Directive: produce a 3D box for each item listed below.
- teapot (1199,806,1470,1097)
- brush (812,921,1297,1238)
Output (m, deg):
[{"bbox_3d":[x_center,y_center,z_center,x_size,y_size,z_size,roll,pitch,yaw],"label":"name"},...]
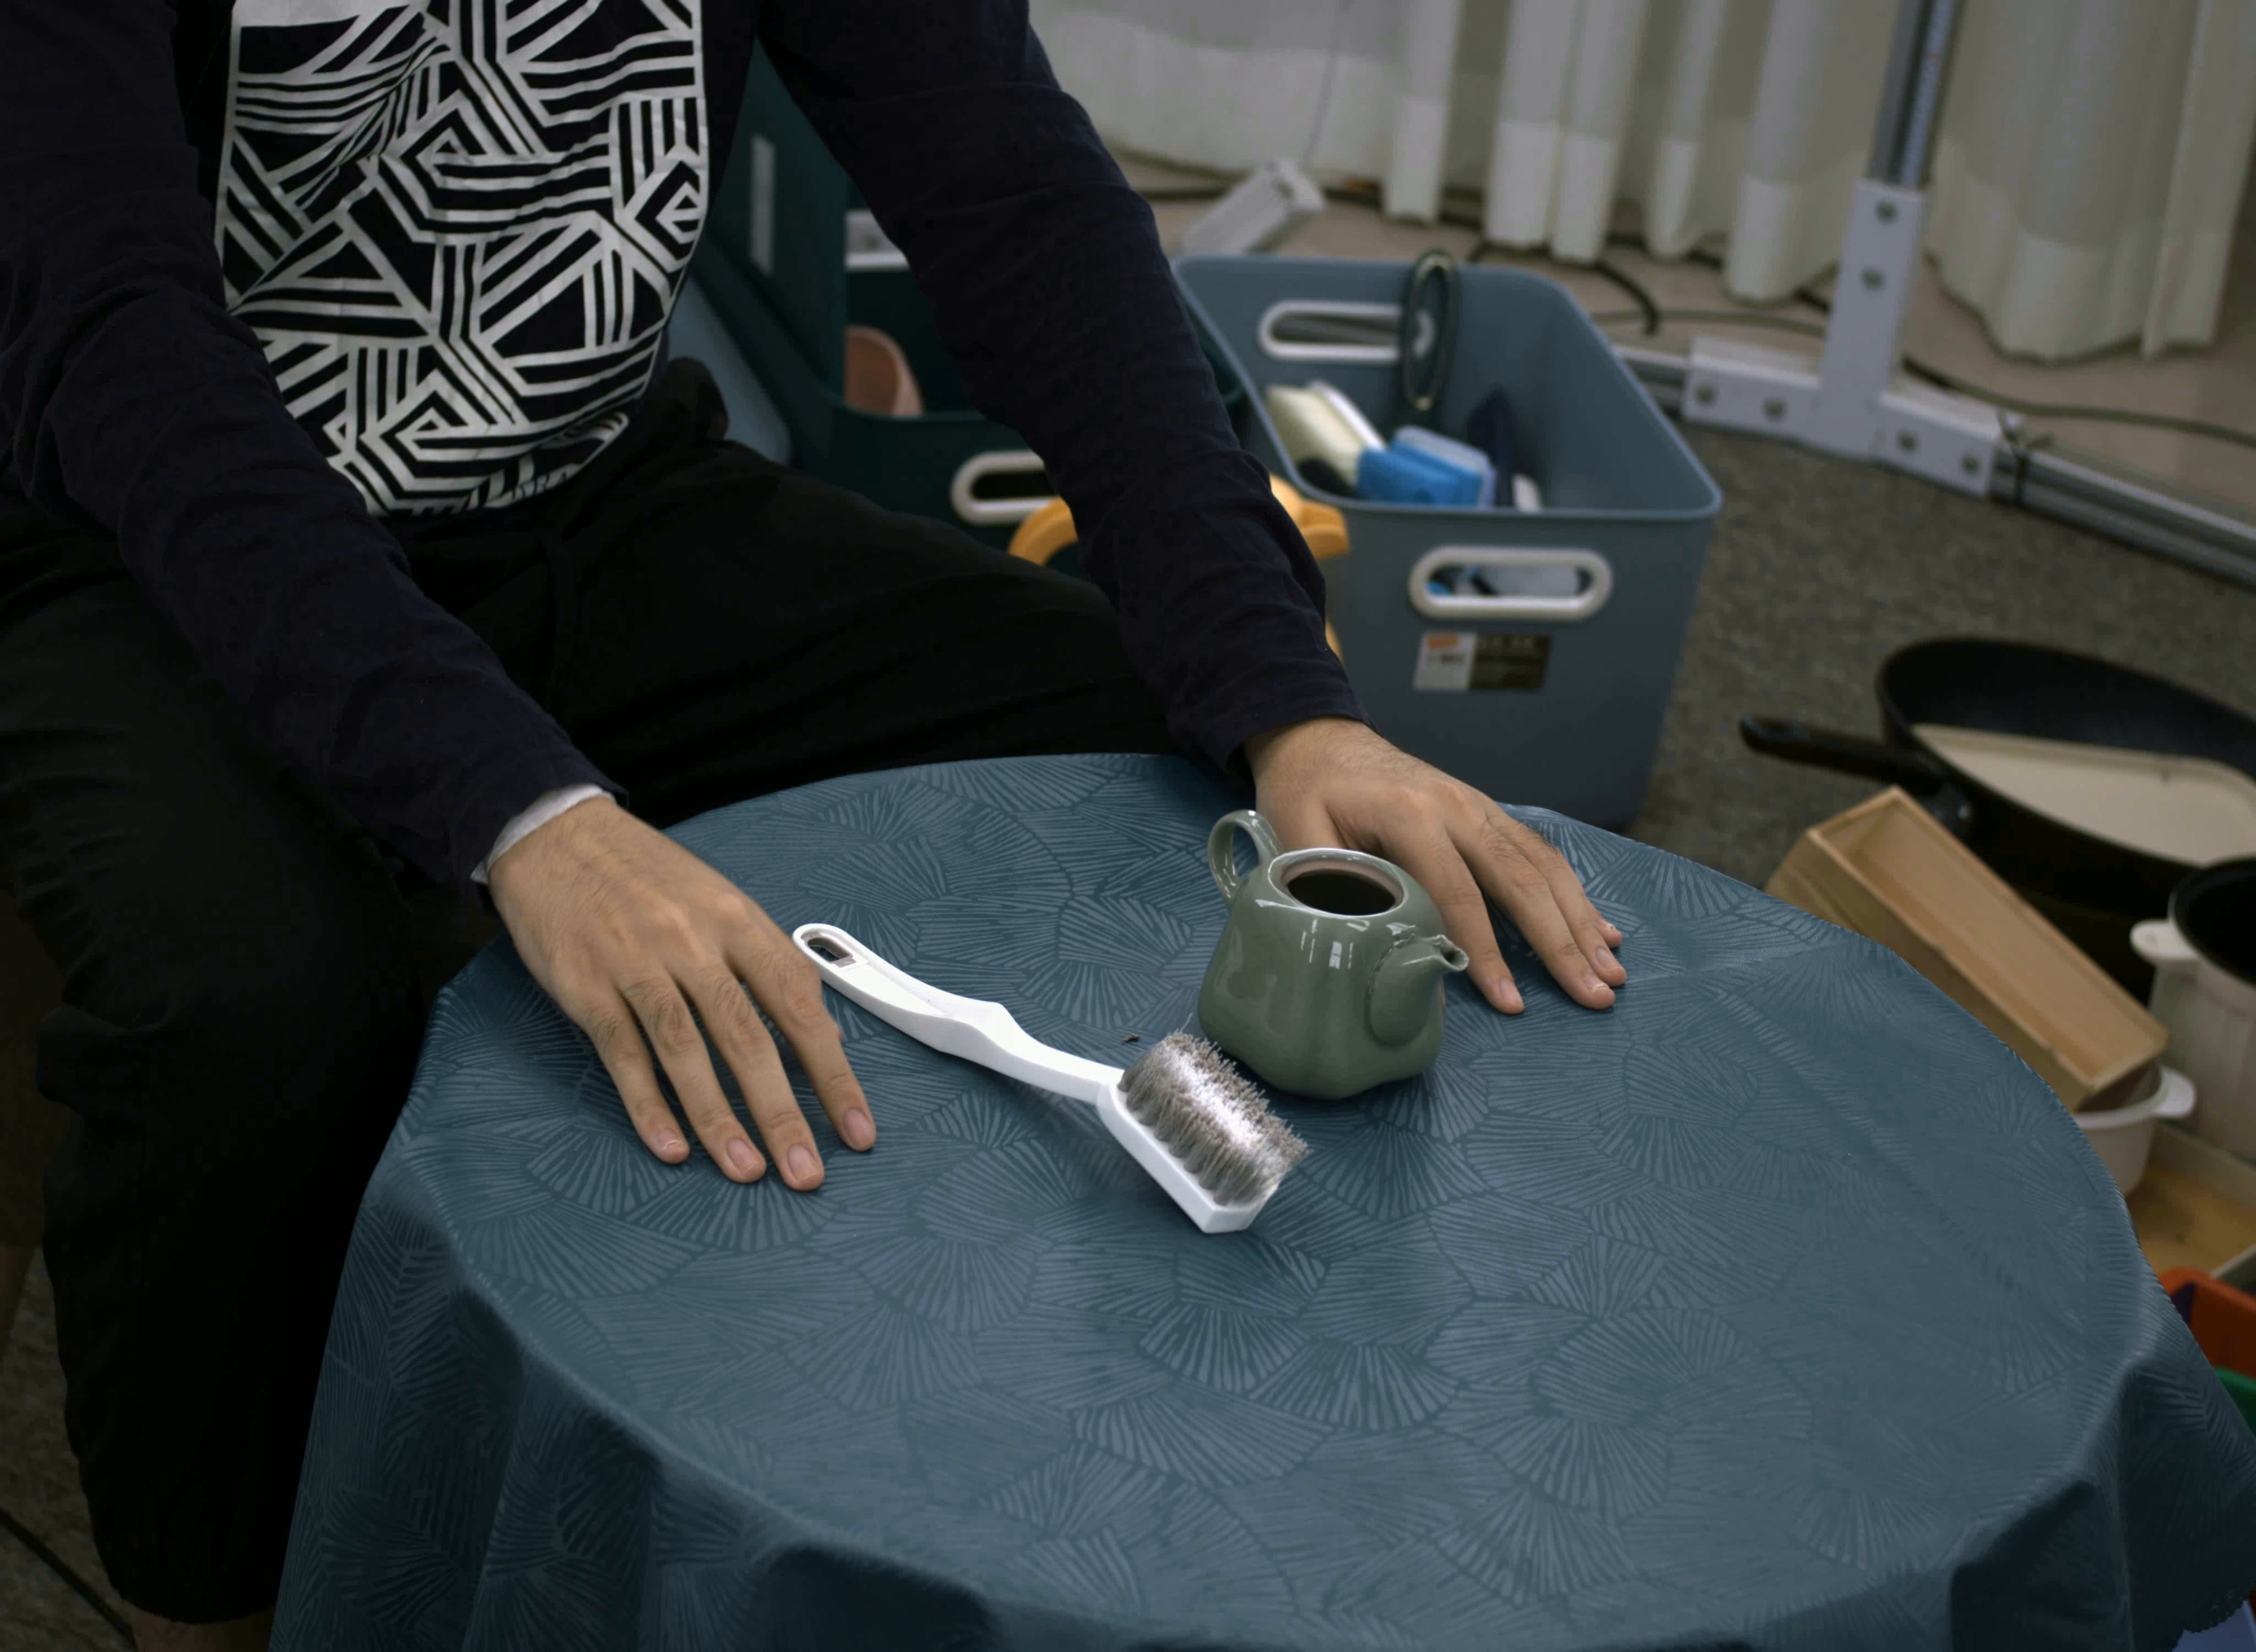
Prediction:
[{"bbox_3d":[0.071,0.048,1.889,0.079,0.075,0.133,-16,34,-37],"label":"teapot"},{"bbox_3d":[-0.031,0.071,1.852,0.034,0.050,0.246,-21,37,-35],"label":"brush"}]
